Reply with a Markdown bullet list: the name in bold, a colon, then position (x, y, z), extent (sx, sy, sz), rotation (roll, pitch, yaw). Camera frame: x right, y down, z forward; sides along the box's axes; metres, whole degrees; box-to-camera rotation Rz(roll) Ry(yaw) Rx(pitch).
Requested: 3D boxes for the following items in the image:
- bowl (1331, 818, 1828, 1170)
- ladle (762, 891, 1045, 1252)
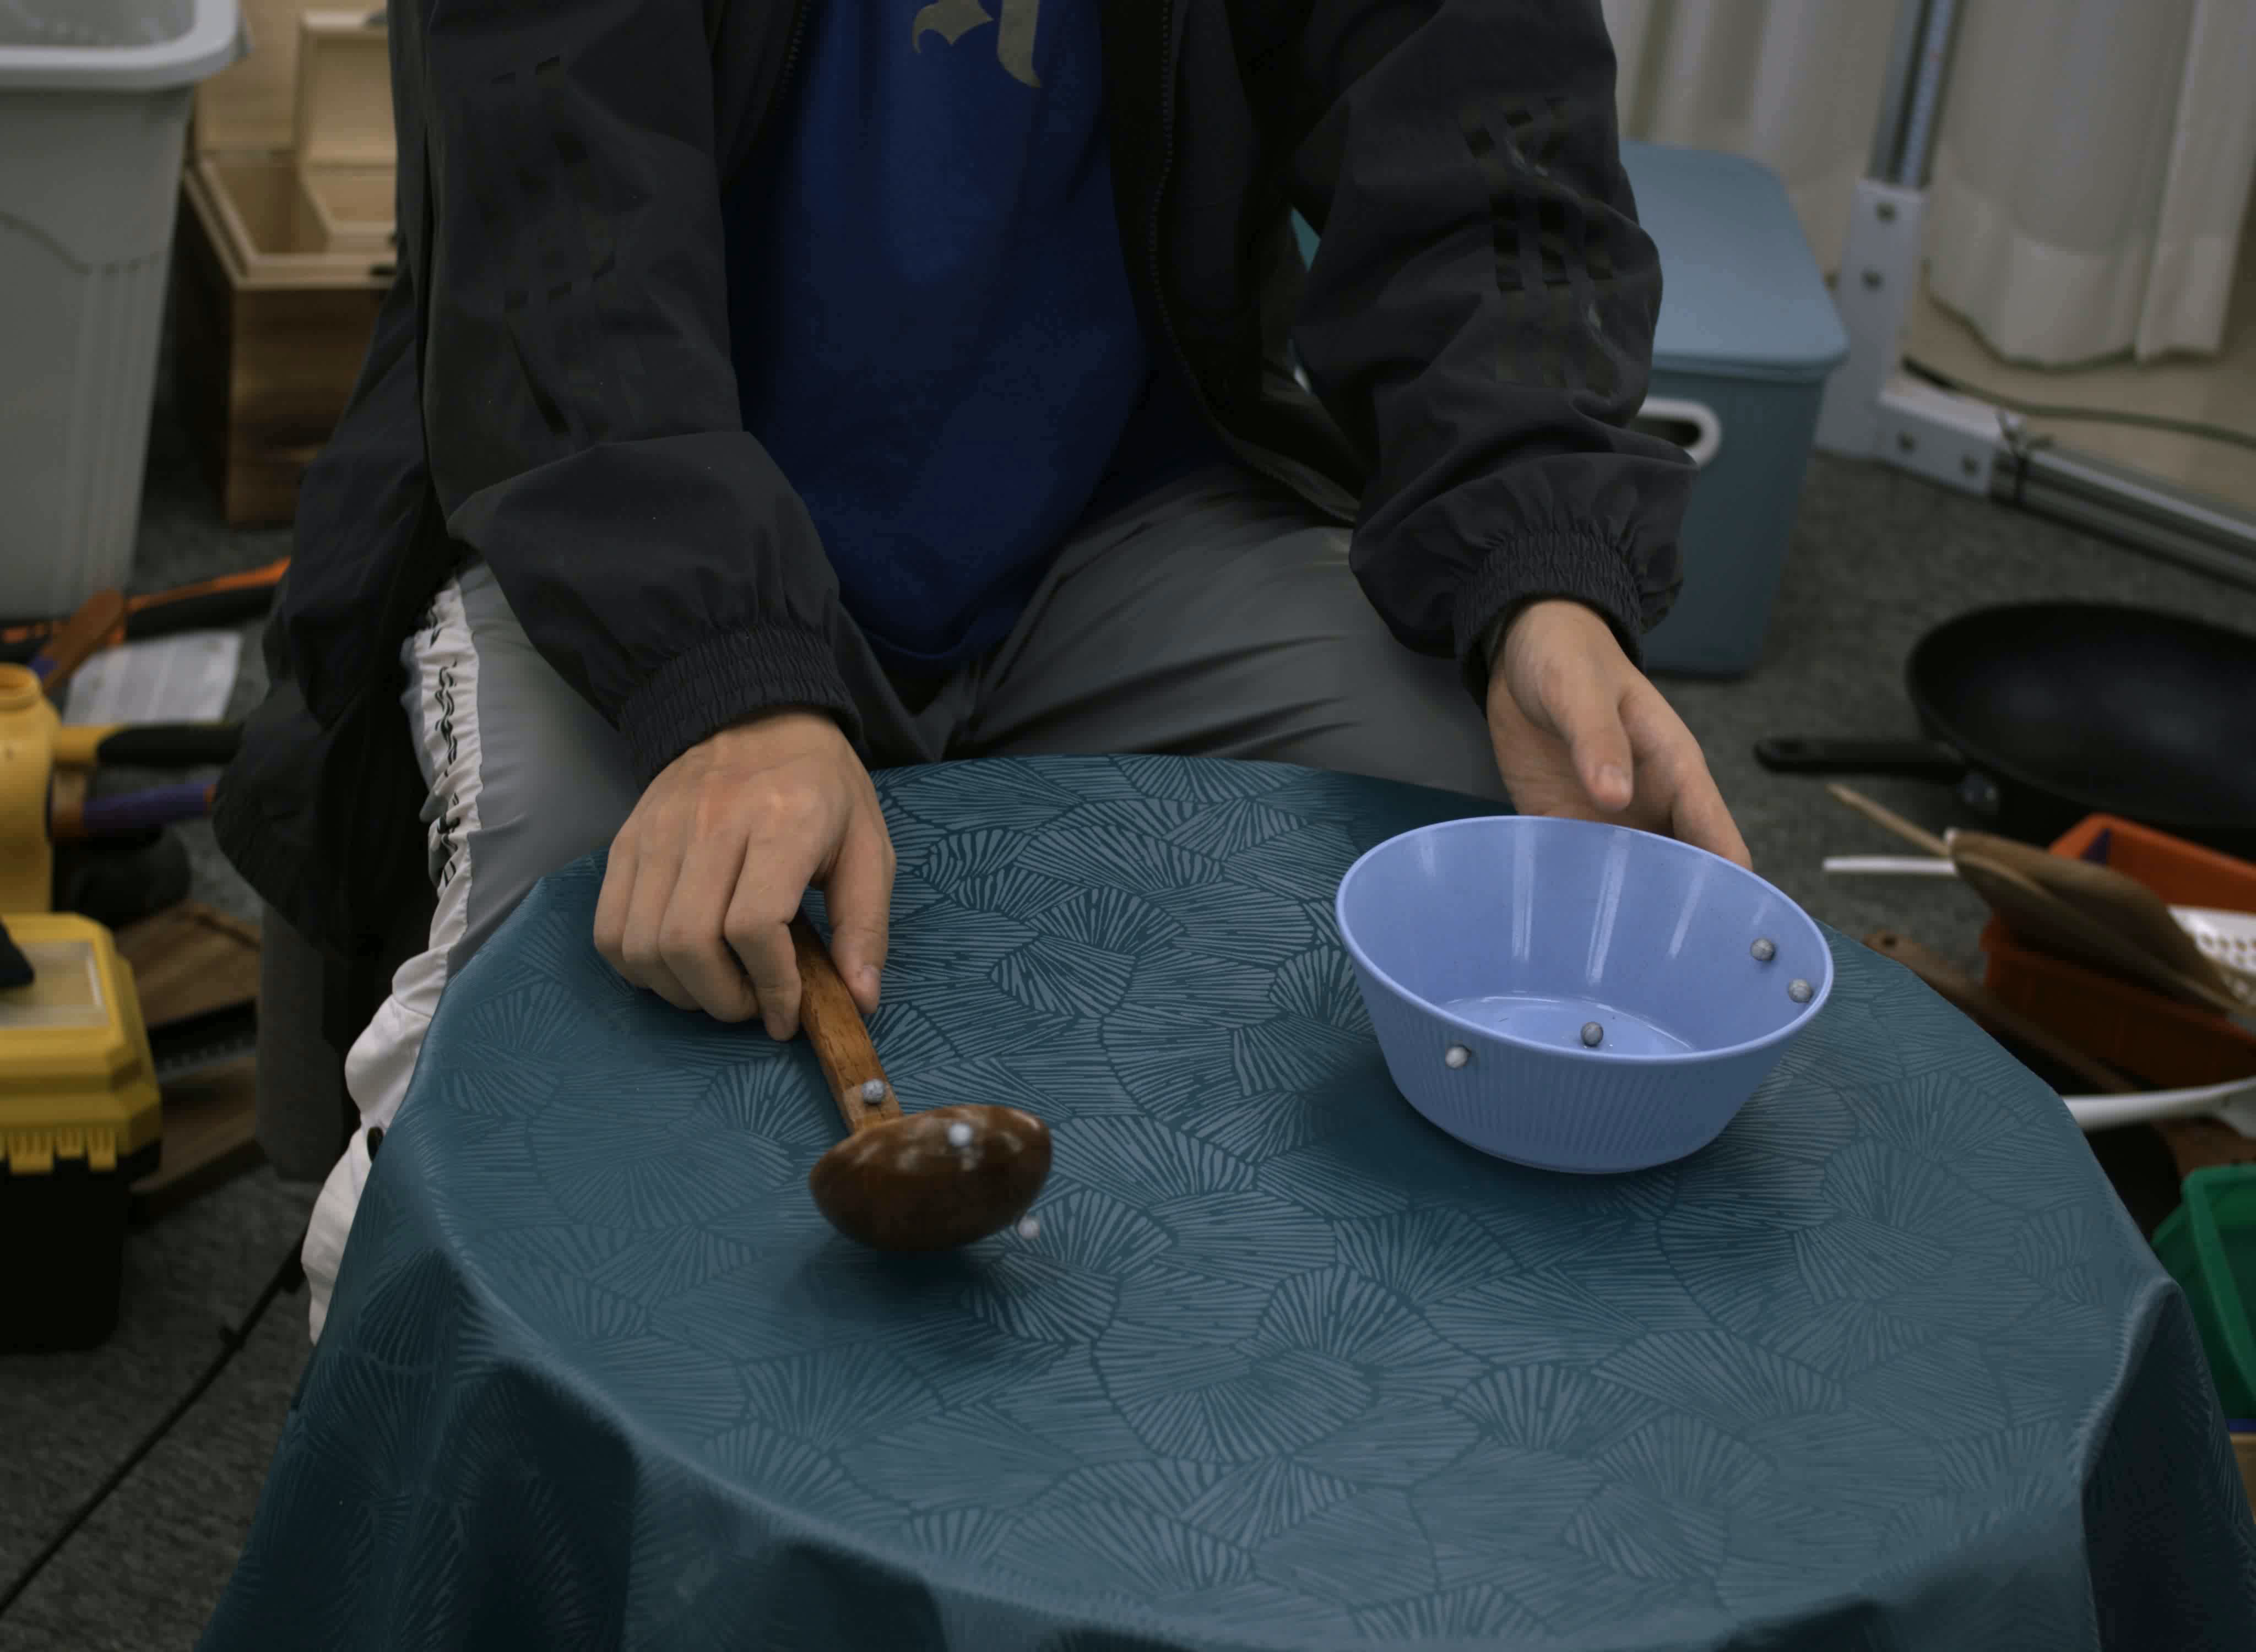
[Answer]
- **bowl**: position (0.154, 0.065, 1.877), extent (0.175, 0.070, 0.177), rotation (6, 26, -3)
- **ladle**: position (-0.092, 0.063, 1.816), extent (0.081, 0.076, 0.276), rotation (-1, 28, -15)
